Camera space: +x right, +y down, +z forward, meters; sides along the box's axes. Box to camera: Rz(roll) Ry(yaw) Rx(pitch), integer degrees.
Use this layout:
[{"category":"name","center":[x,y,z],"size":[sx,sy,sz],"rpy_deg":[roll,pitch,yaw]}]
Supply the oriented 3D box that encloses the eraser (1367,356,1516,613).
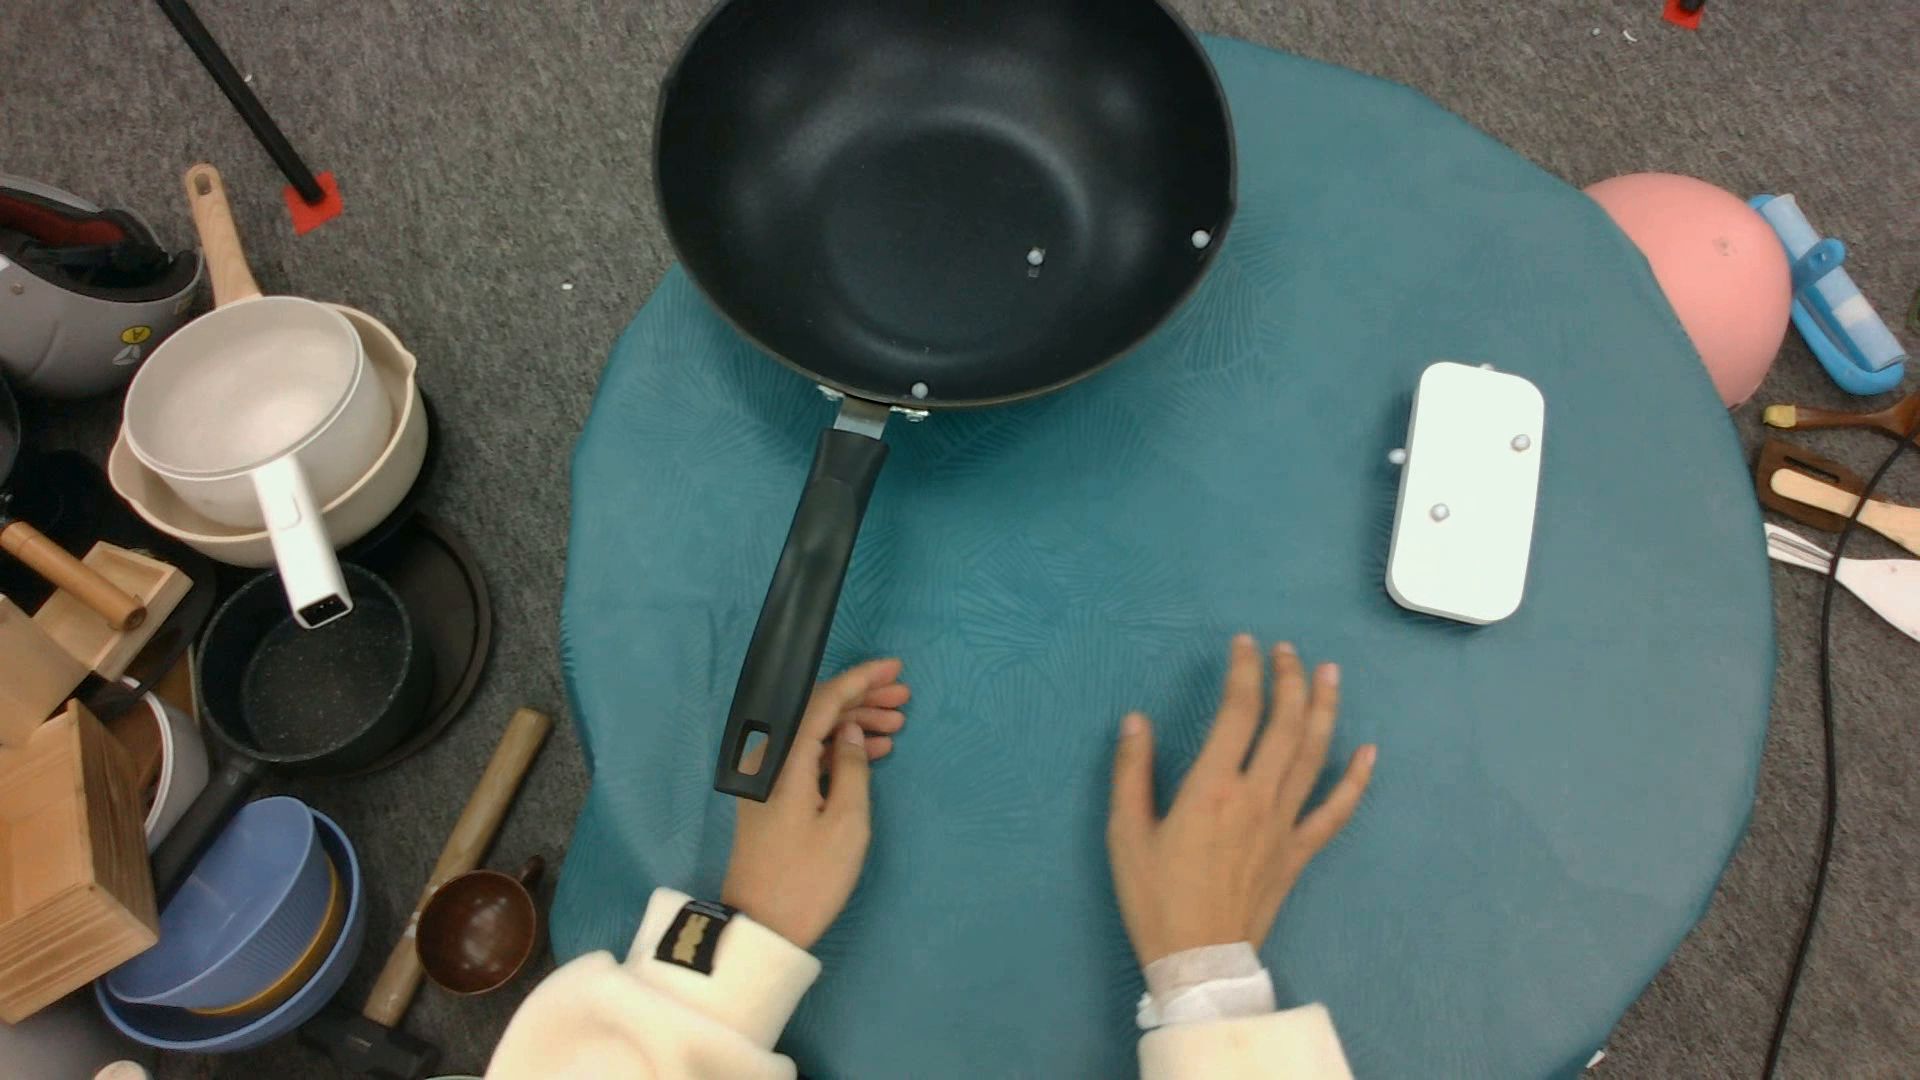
[{"category":"eraser","center":[0.238,-0.029,0.685],"size":[0.063,0.034,0.132],"rpy_deg":[12,70,5]}]

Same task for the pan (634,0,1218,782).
[{"category":"pan","center":[-0.041,-0.101,0.674],"size":[0.288,0.086,0.465],"rpy_deg":[14,71,4]}]
